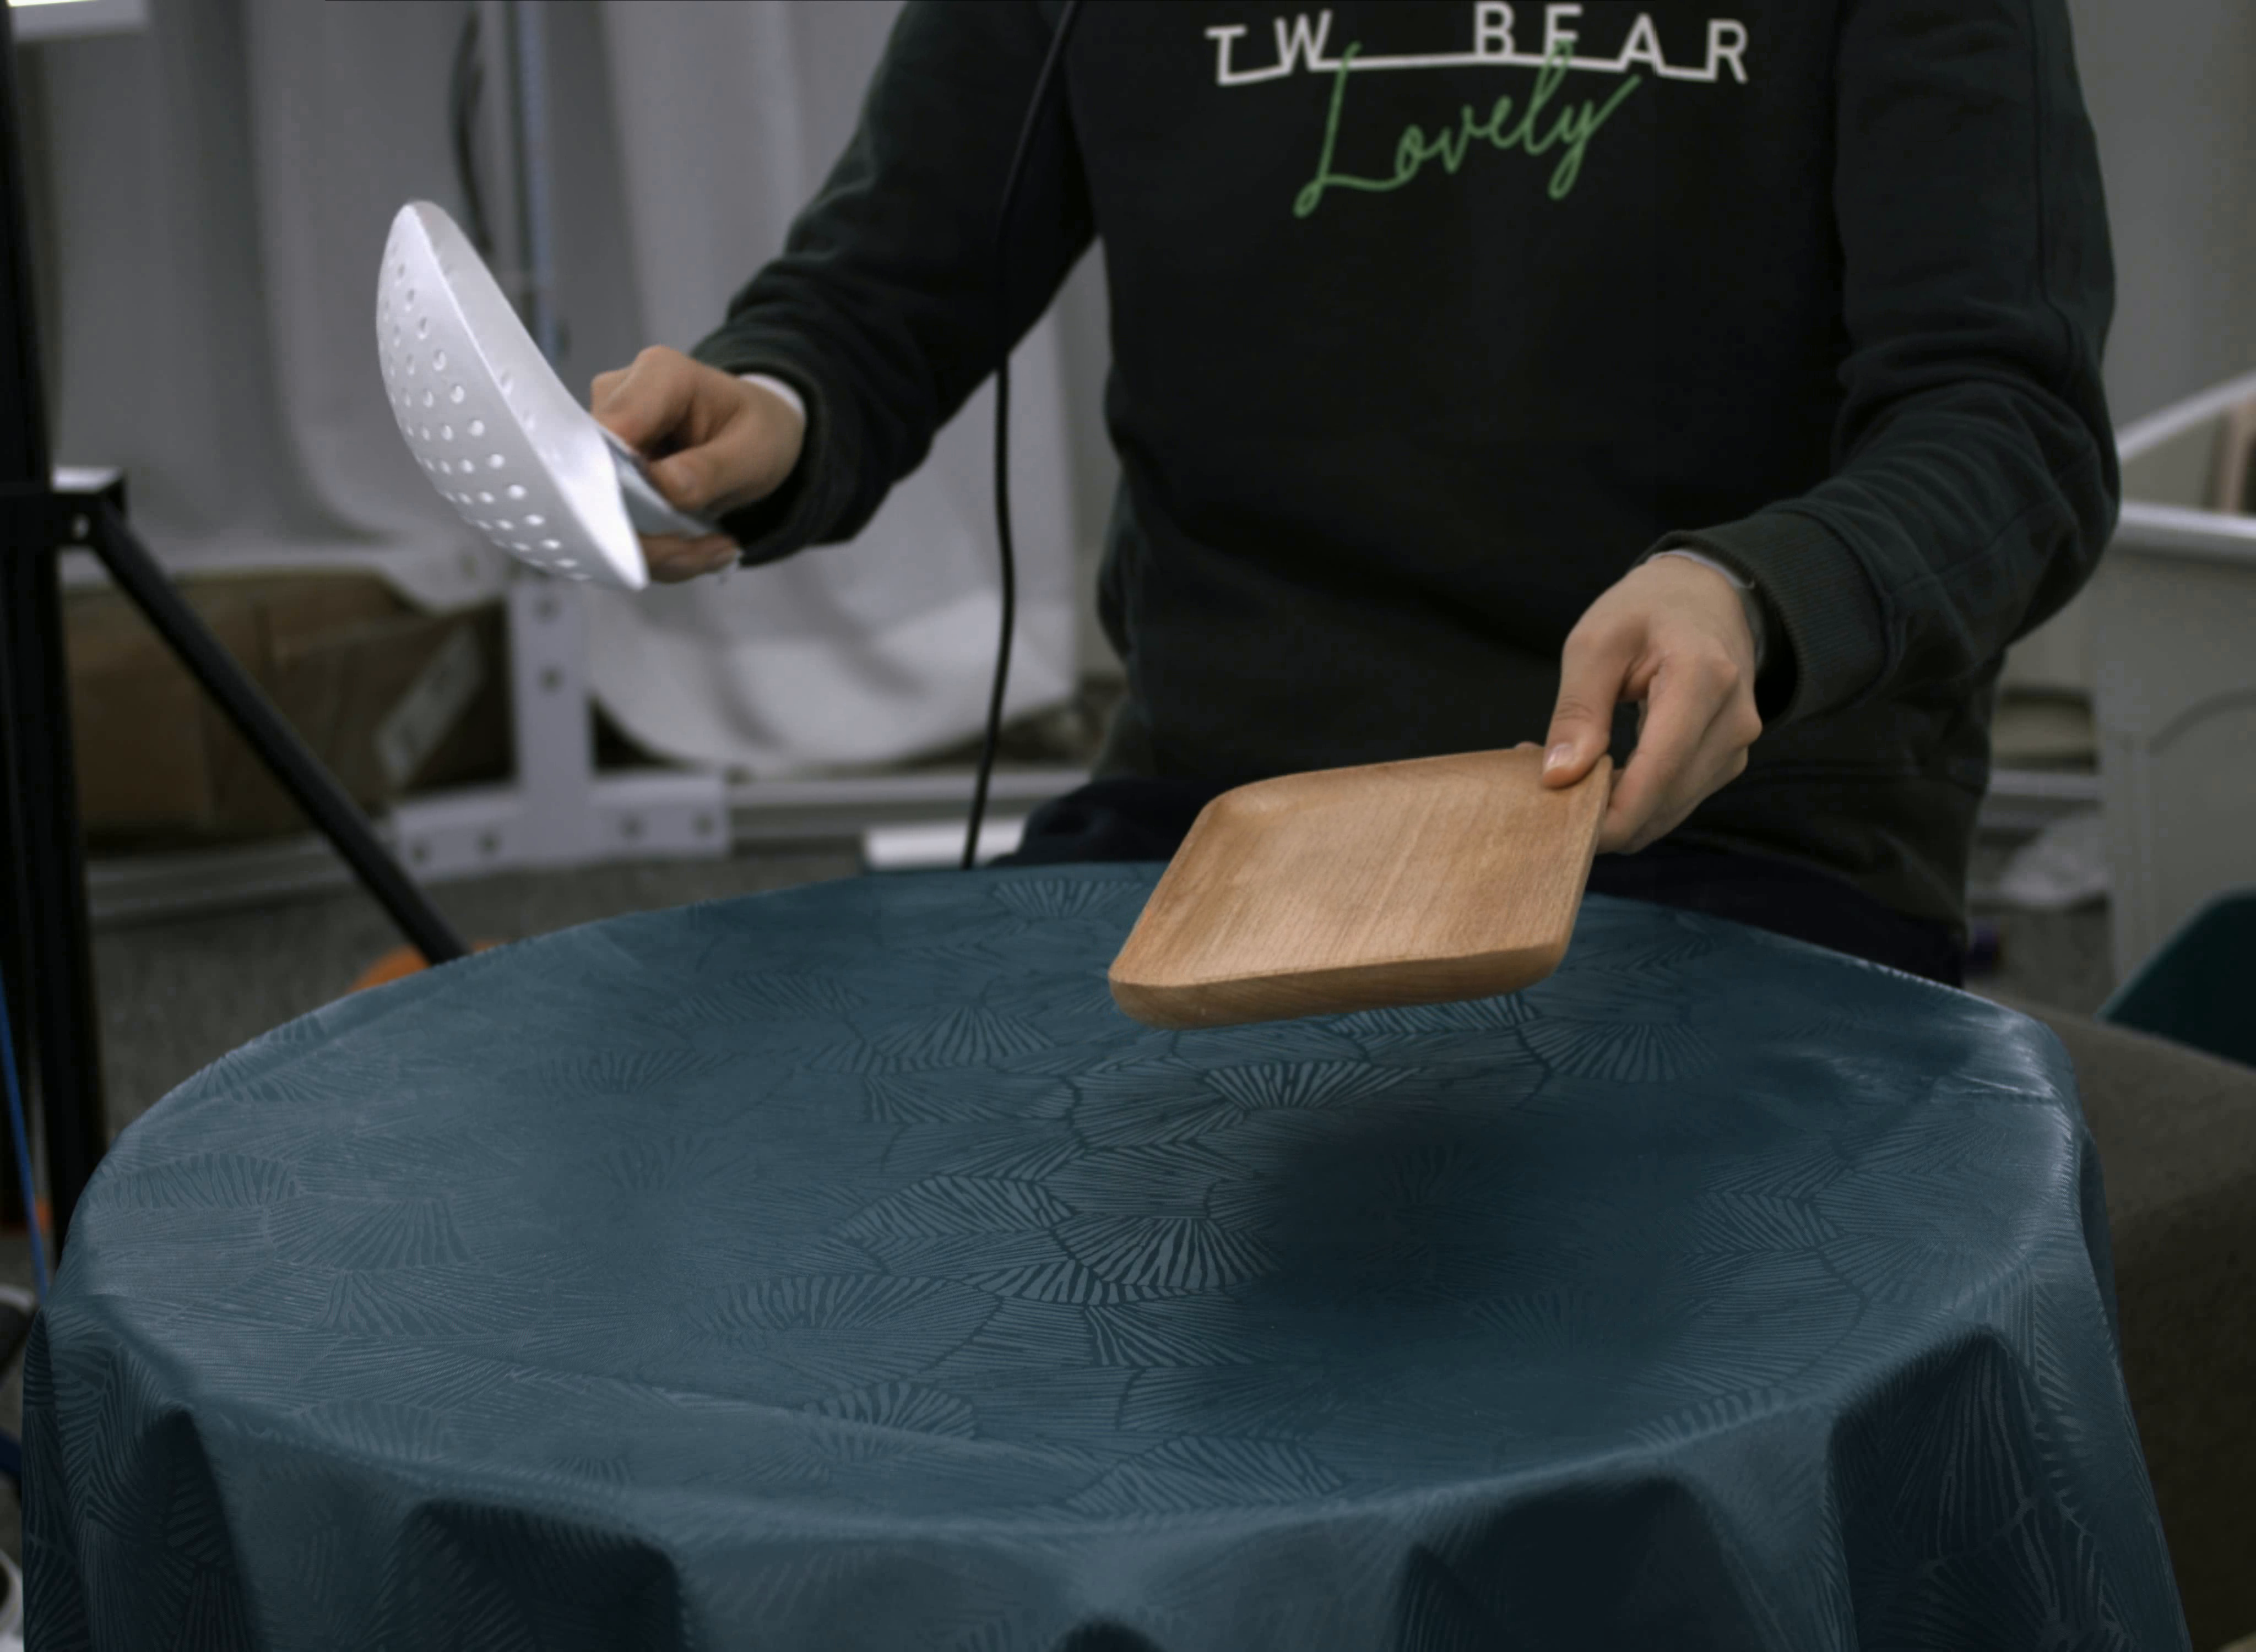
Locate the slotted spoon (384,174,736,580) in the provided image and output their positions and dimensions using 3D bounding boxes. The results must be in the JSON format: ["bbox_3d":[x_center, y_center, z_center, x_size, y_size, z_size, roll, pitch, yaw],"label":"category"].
[{"bbox_3d":[-0.168,-0.119,1.683,0.046,0.137,0.346,-30,-8,8],"label":"slotted spoon"}]

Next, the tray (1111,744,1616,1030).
[{"bbox_3d":[0.072,0.016,1.527,0.131,0.023,0.249,-5,12,11],"label":"tray"}]
